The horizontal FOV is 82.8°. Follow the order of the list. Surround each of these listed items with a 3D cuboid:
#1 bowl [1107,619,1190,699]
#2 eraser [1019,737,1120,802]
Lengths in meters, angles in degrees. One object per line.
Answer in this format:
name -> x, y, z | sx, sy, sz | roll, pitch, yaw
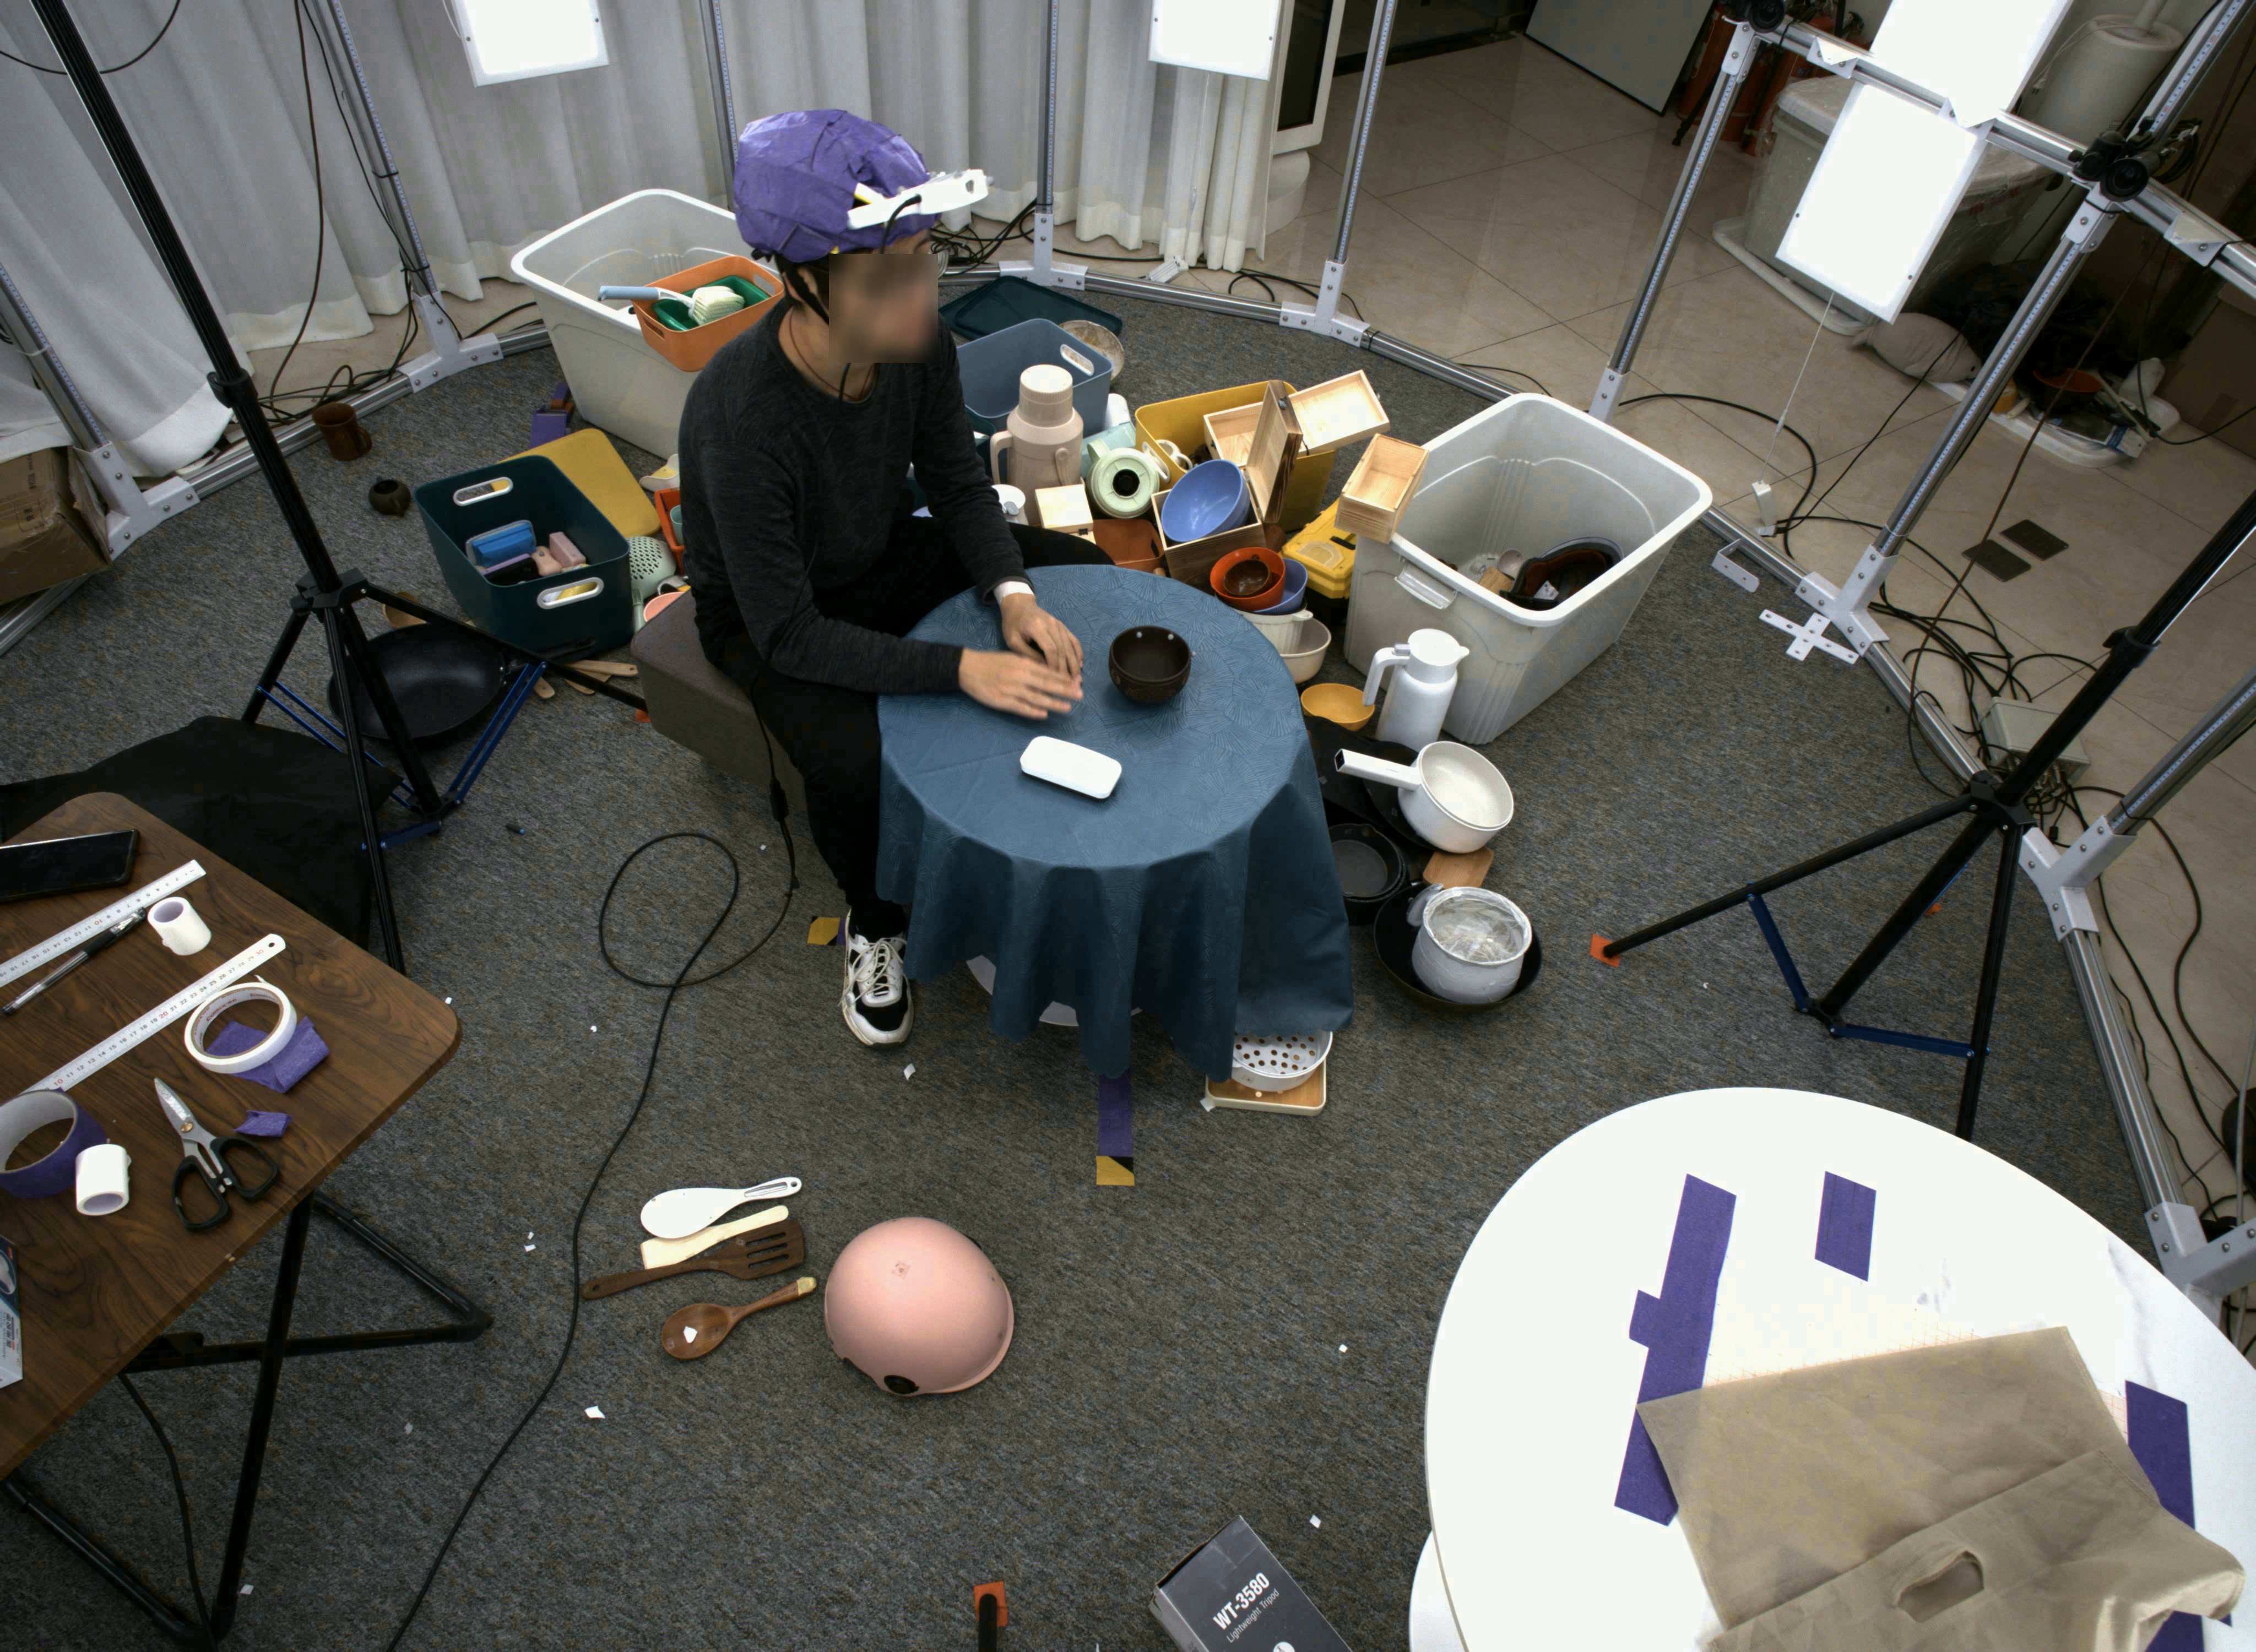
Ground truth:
bowl -> 0.030, -0.228, 1.822 | 0.118, 0.068, 0.121 | -1, 54, 2
eraser -> -0.078, -0.079, 1.713 | 0.132, 0.034, 0.064 | 21, 49, 12
